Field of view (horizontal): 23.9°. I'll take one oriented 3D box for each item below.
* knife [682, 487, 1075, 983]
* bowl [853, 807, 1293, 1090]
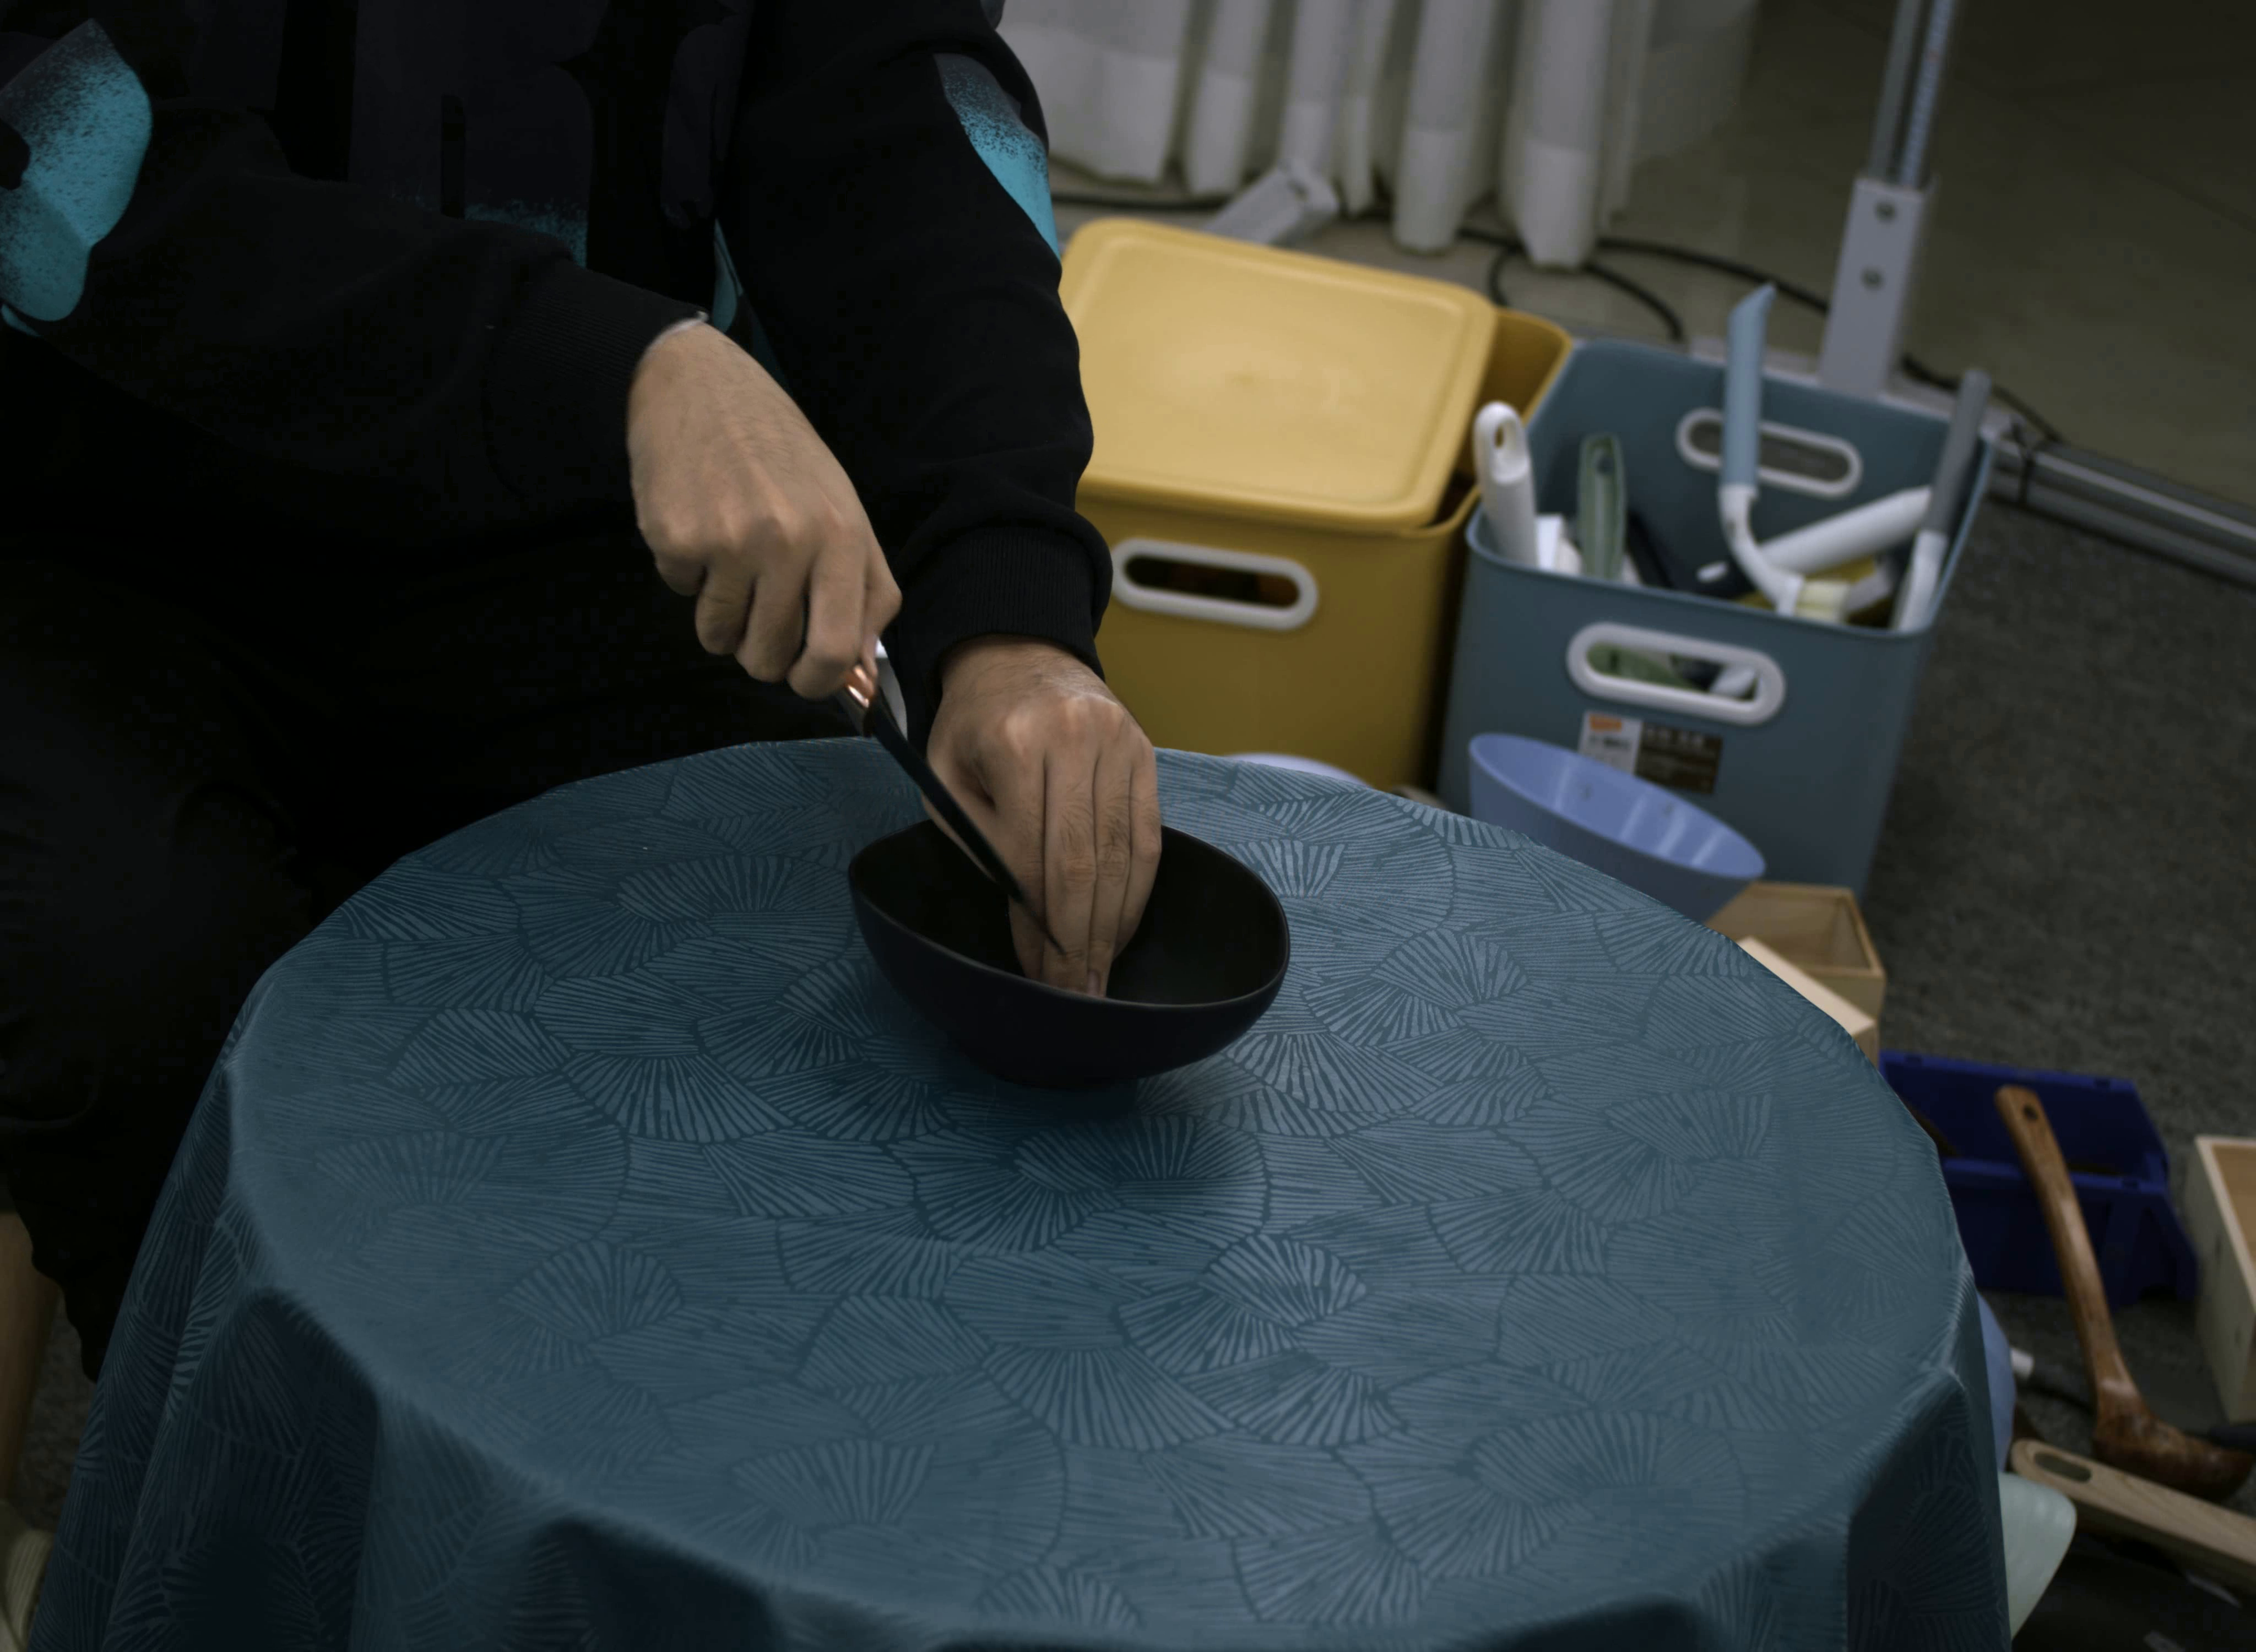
[{"bbox_3d":[-0.087,-0.033,1.868,0.017,0.026,0.227,-34,73,-18],"label":"knife"},{"bbox_3d":[-0.023,0.050,1.870,0.171,0.066,0.137,22,30,32],"label":"bowl"}]
